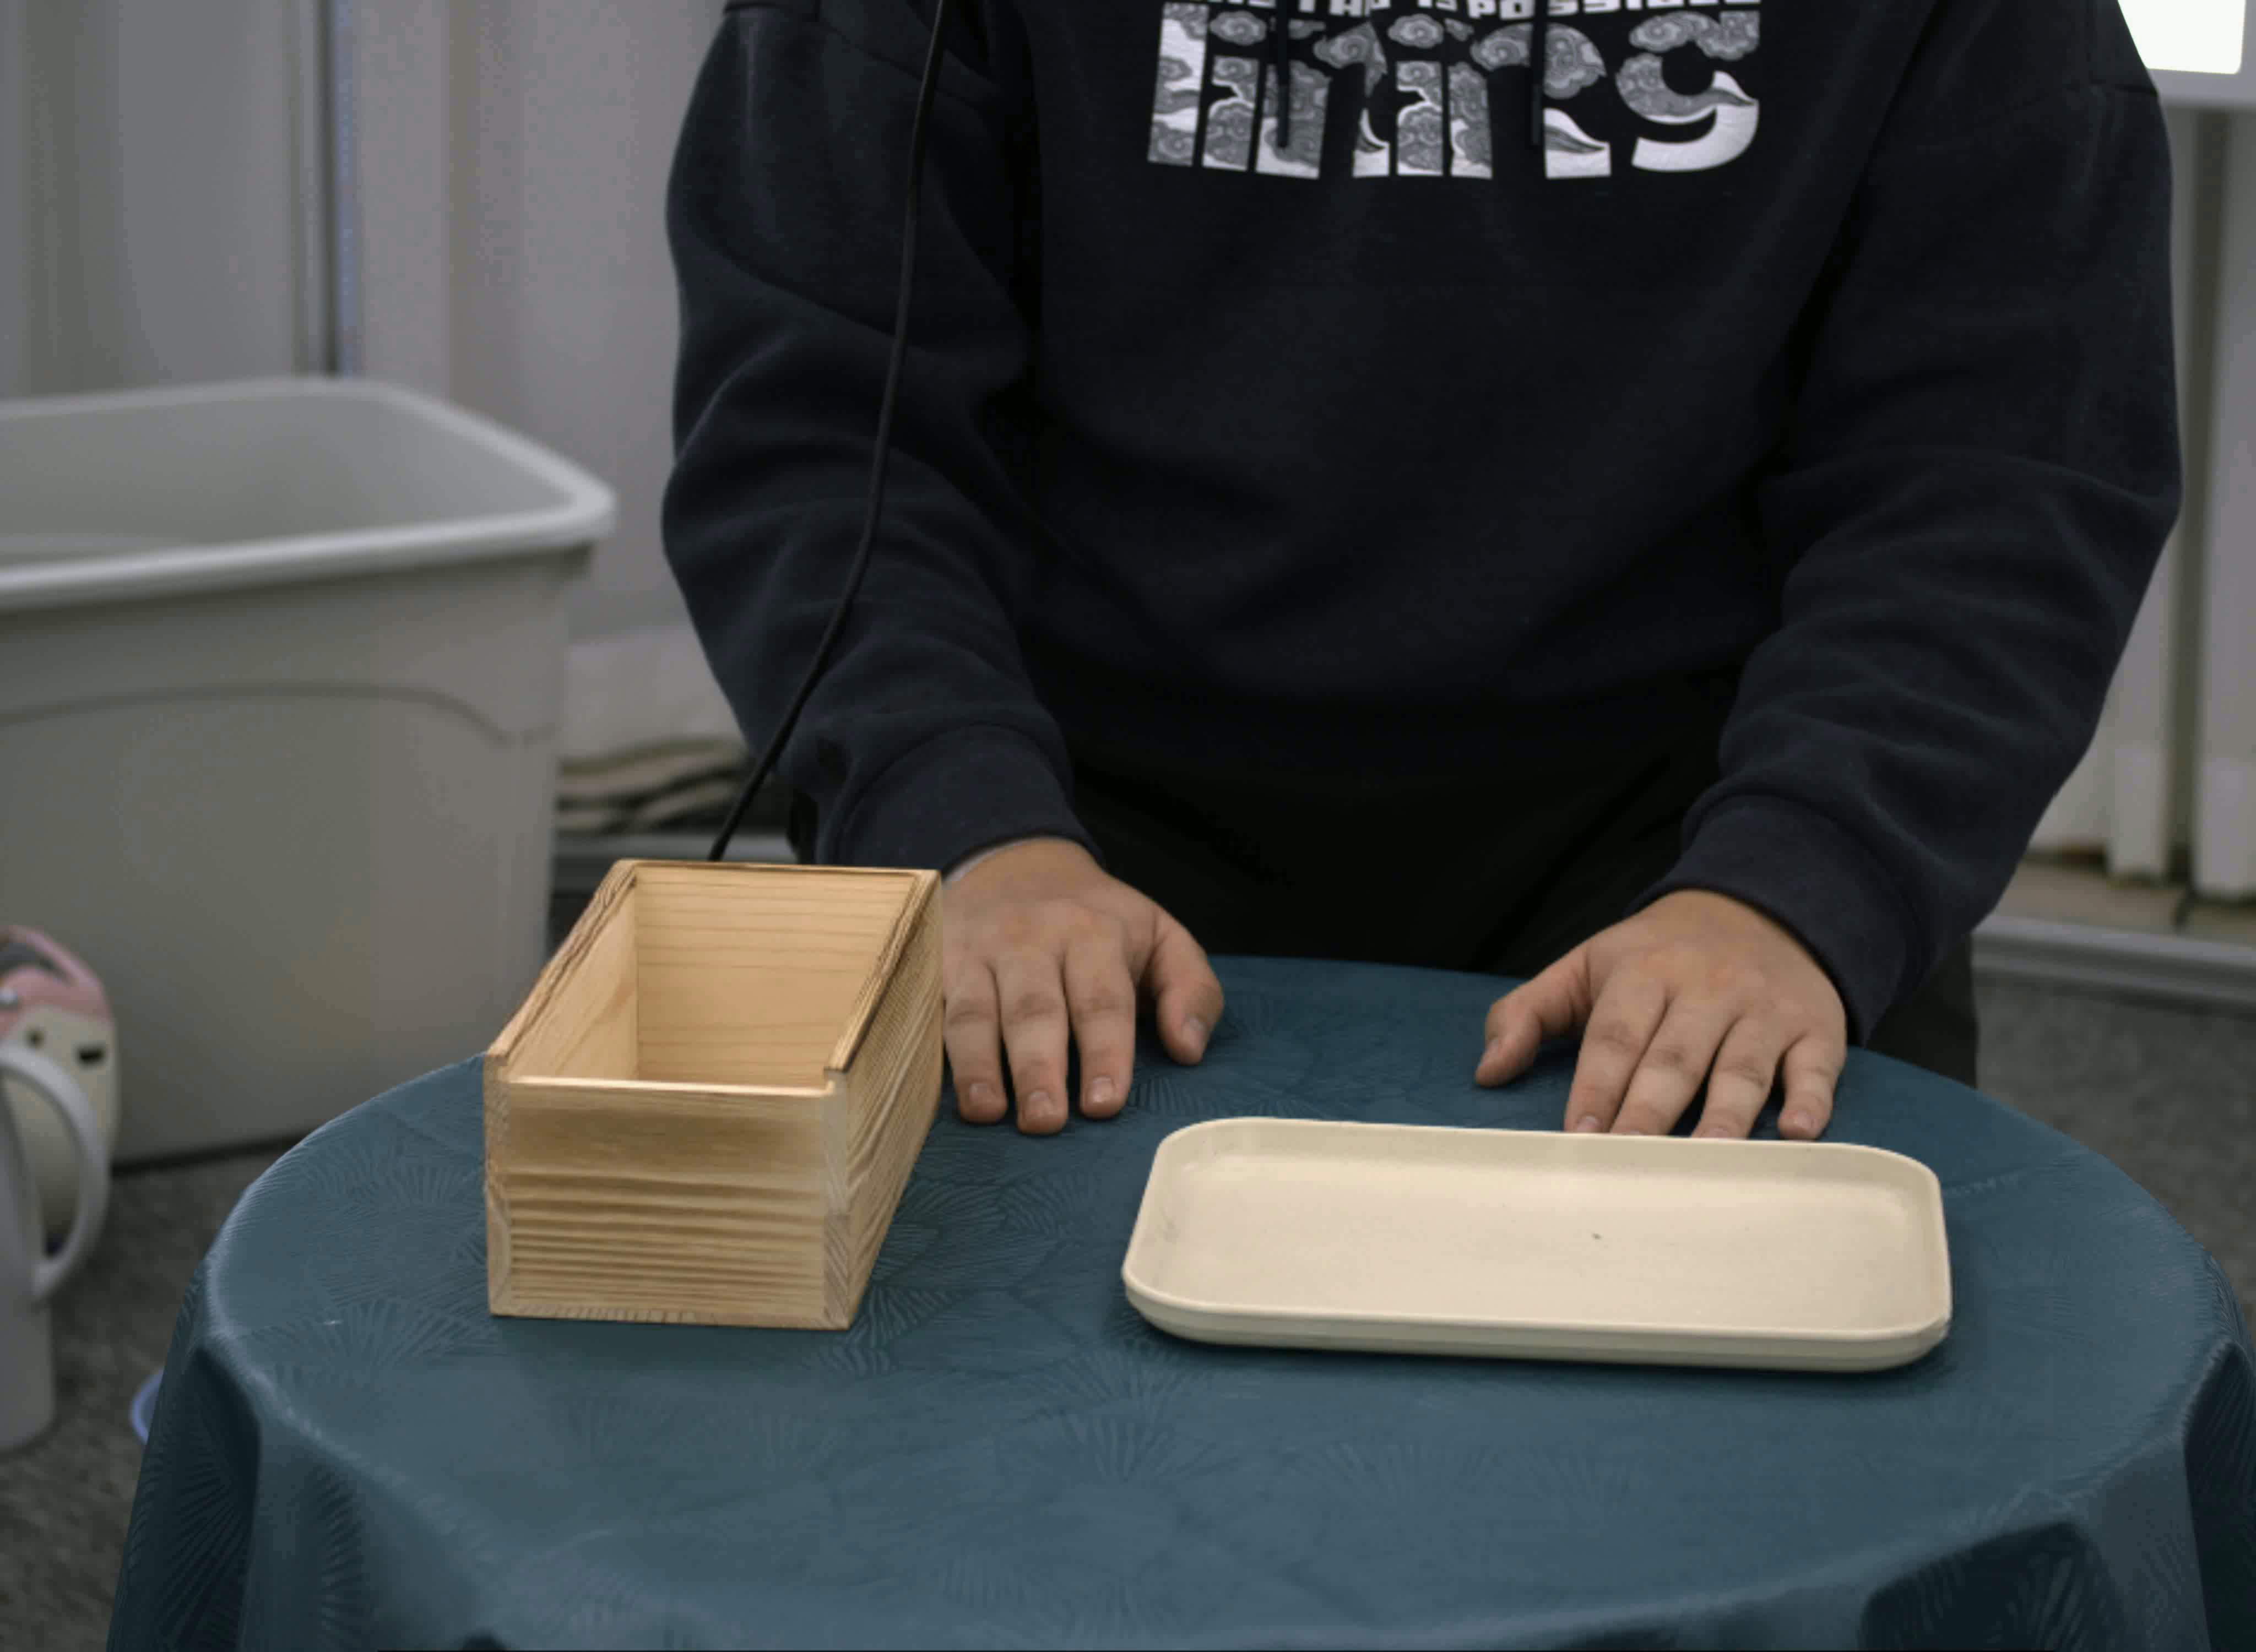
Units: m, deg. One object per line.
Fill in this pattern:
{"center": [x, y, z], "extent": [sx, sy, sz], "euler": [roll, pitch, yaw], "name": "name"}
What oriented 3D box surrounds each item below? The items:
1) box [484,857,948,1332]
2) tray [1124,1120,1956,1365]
{"center": [-0.121, 0.077, 1.597], "extent": [0.107, 0.081, 0.210], "euler": [2, 15, 5], "name": "box"}
{"center": [0.122, 0.123, 1.560], "extent": [0.238, 0.017, 0.170], "euler": [2, 15, 5], "name": "tray"}
